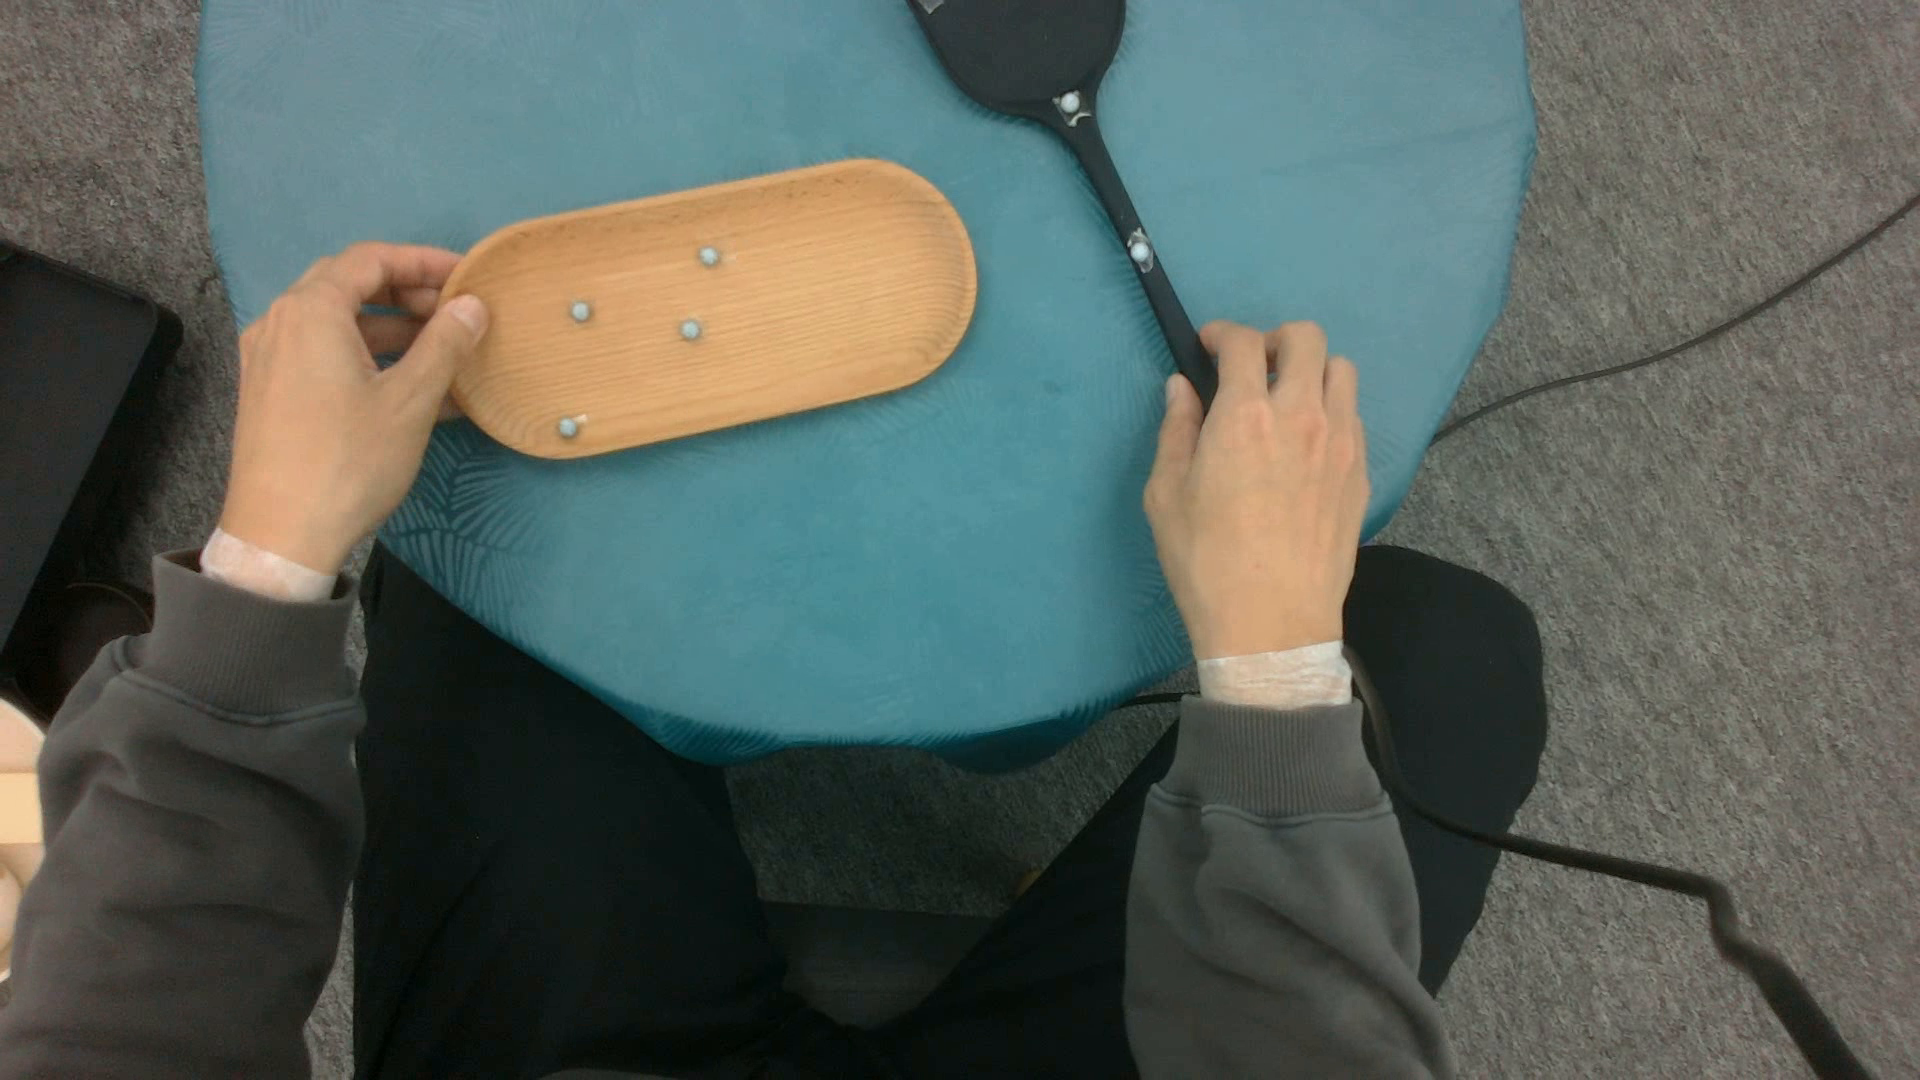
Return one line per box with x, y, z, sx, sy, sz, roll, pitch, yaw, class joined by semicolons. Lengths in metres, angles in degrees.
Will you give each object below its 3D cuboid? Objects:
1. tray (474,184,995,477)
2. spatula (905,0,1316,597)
-0.098;-0.093;0.615;0.231;0.020;0.101;-13;96;-7;tray
0.085;-0.122;0.618;0.100;0.040;0.326;-26;86;1;spatula
